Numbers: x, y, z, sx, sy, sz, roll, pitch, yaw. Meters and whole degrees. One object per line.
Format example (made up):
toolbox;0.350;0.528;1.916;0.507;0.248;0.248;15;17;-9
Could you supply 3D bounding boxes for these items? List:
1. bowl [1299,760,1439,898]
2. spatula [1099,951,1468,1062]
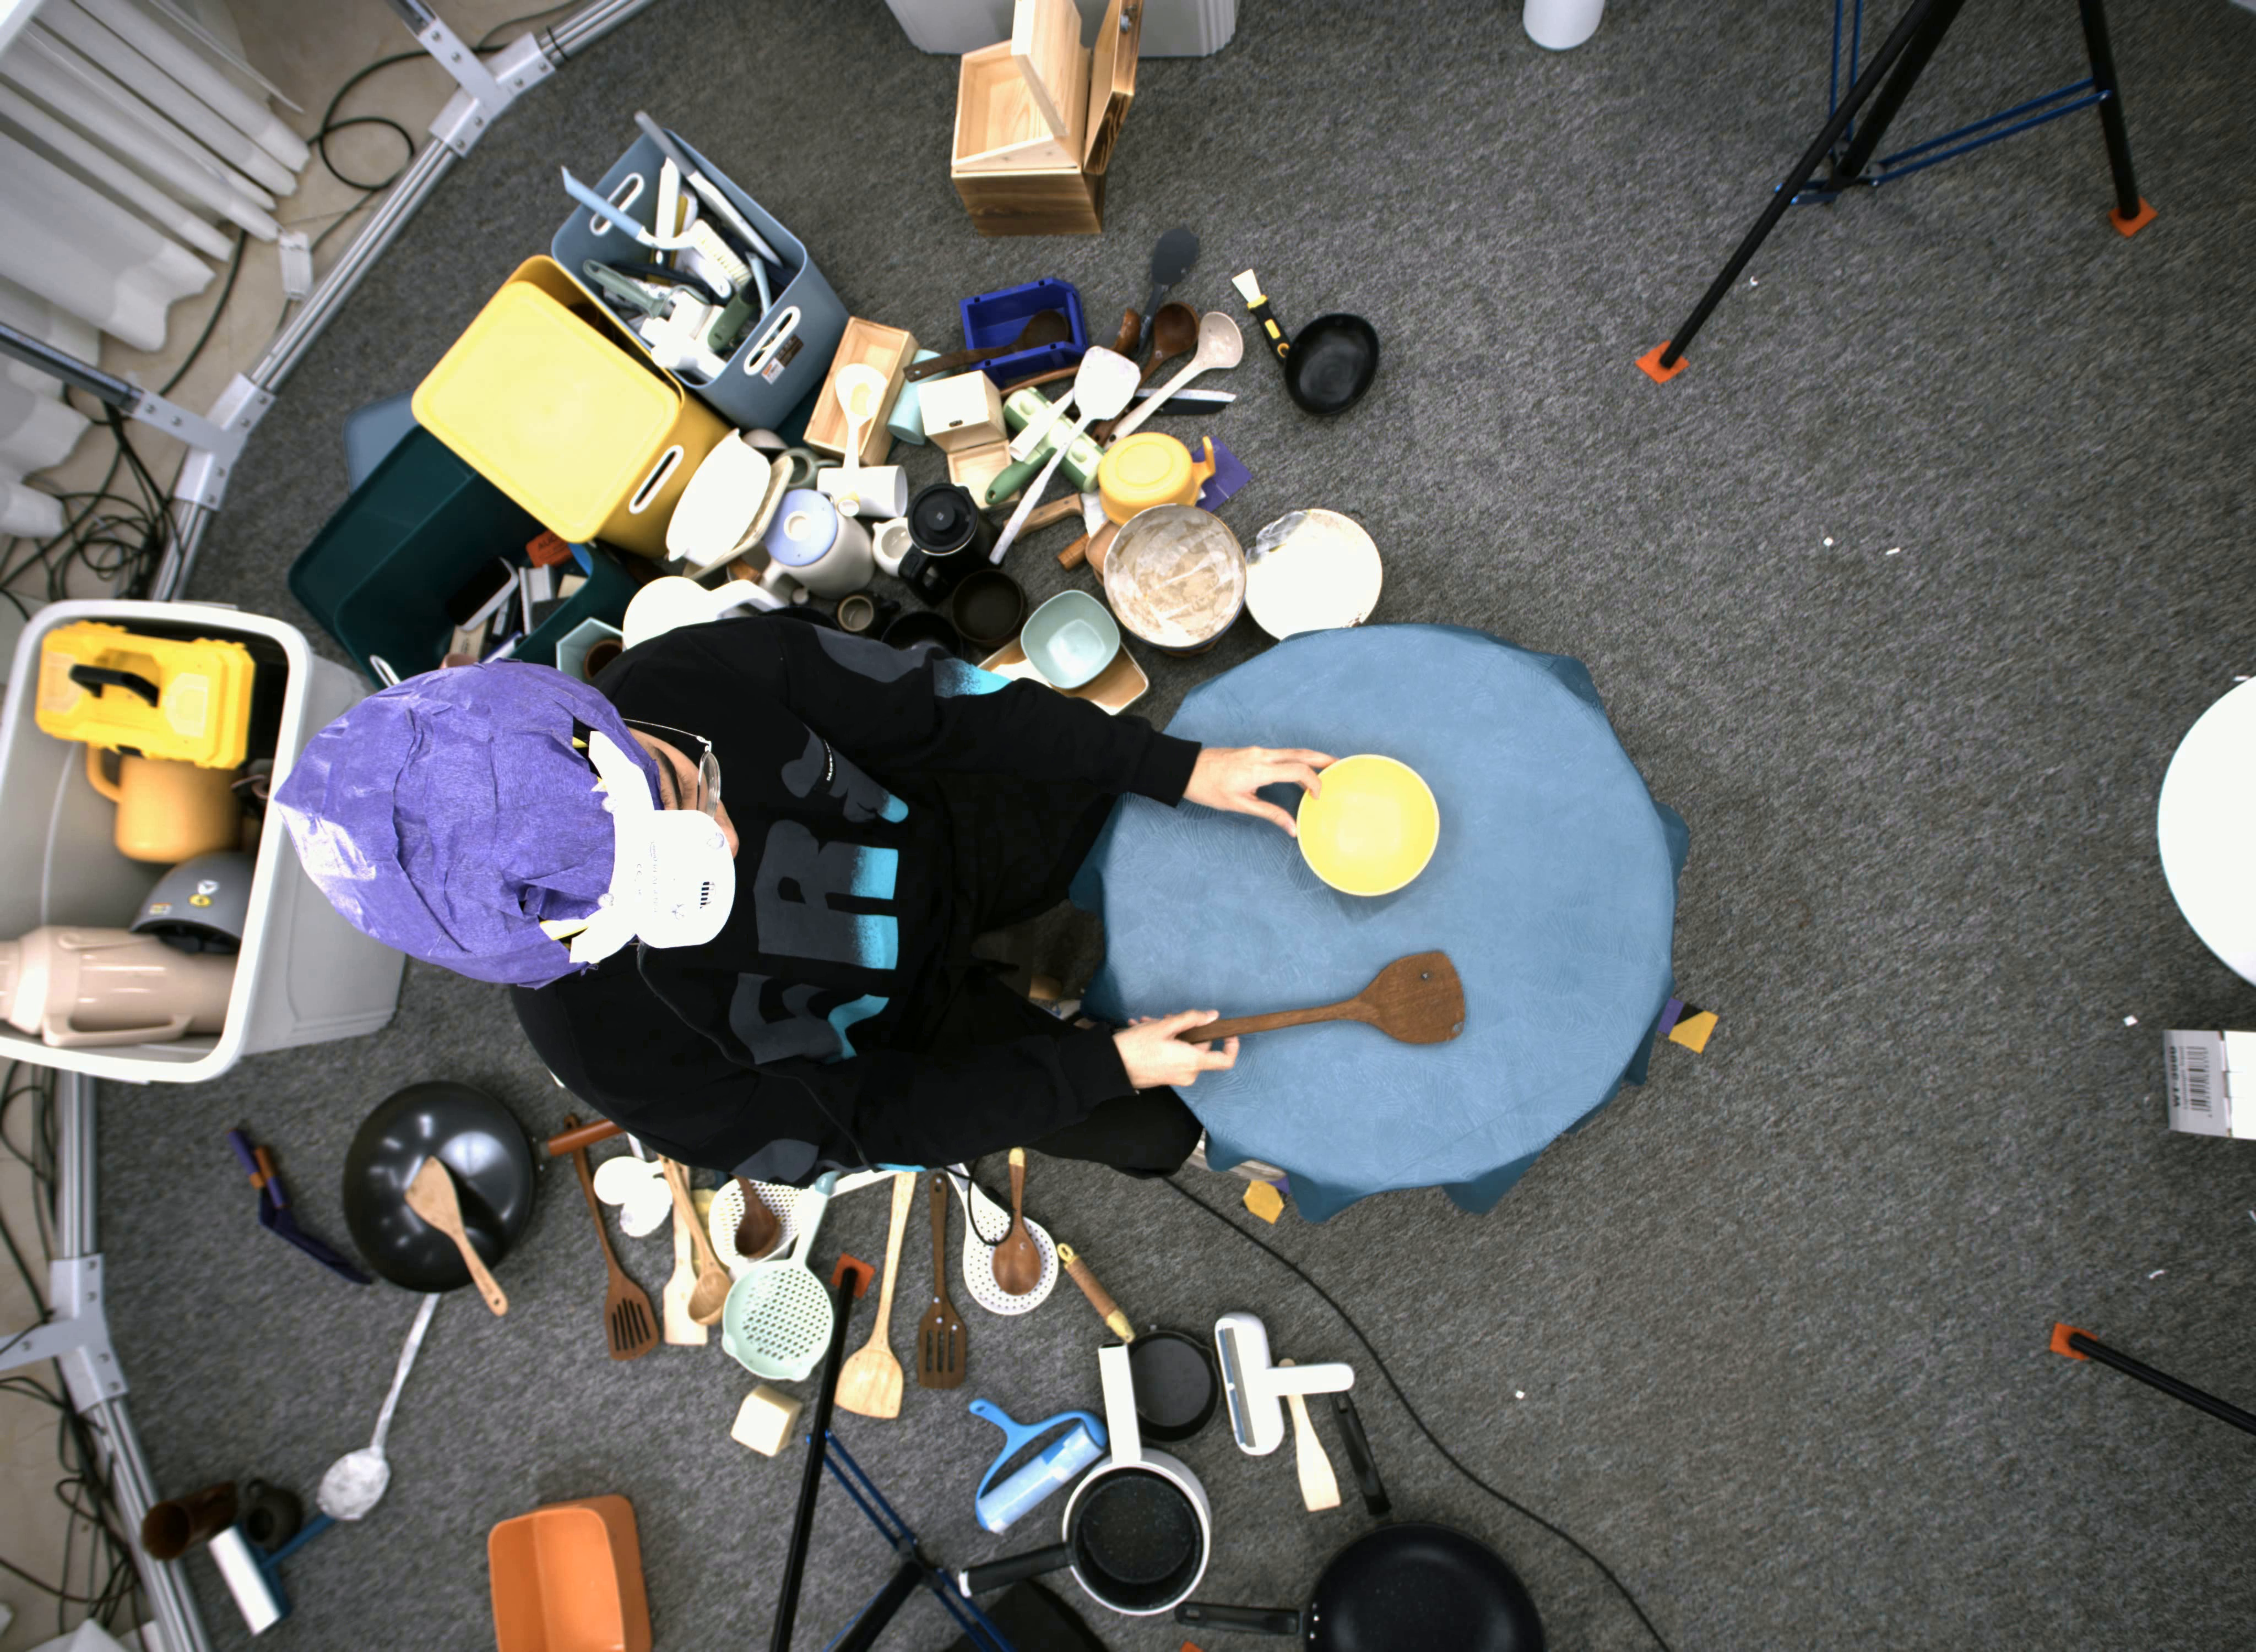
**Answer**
bowl;0.253;0.005;1.444;0.146;0.060;0.144;-2;84;11
spatula;0.161;0.202;1.442;0.386;0.016;0.095;-9;76;0
